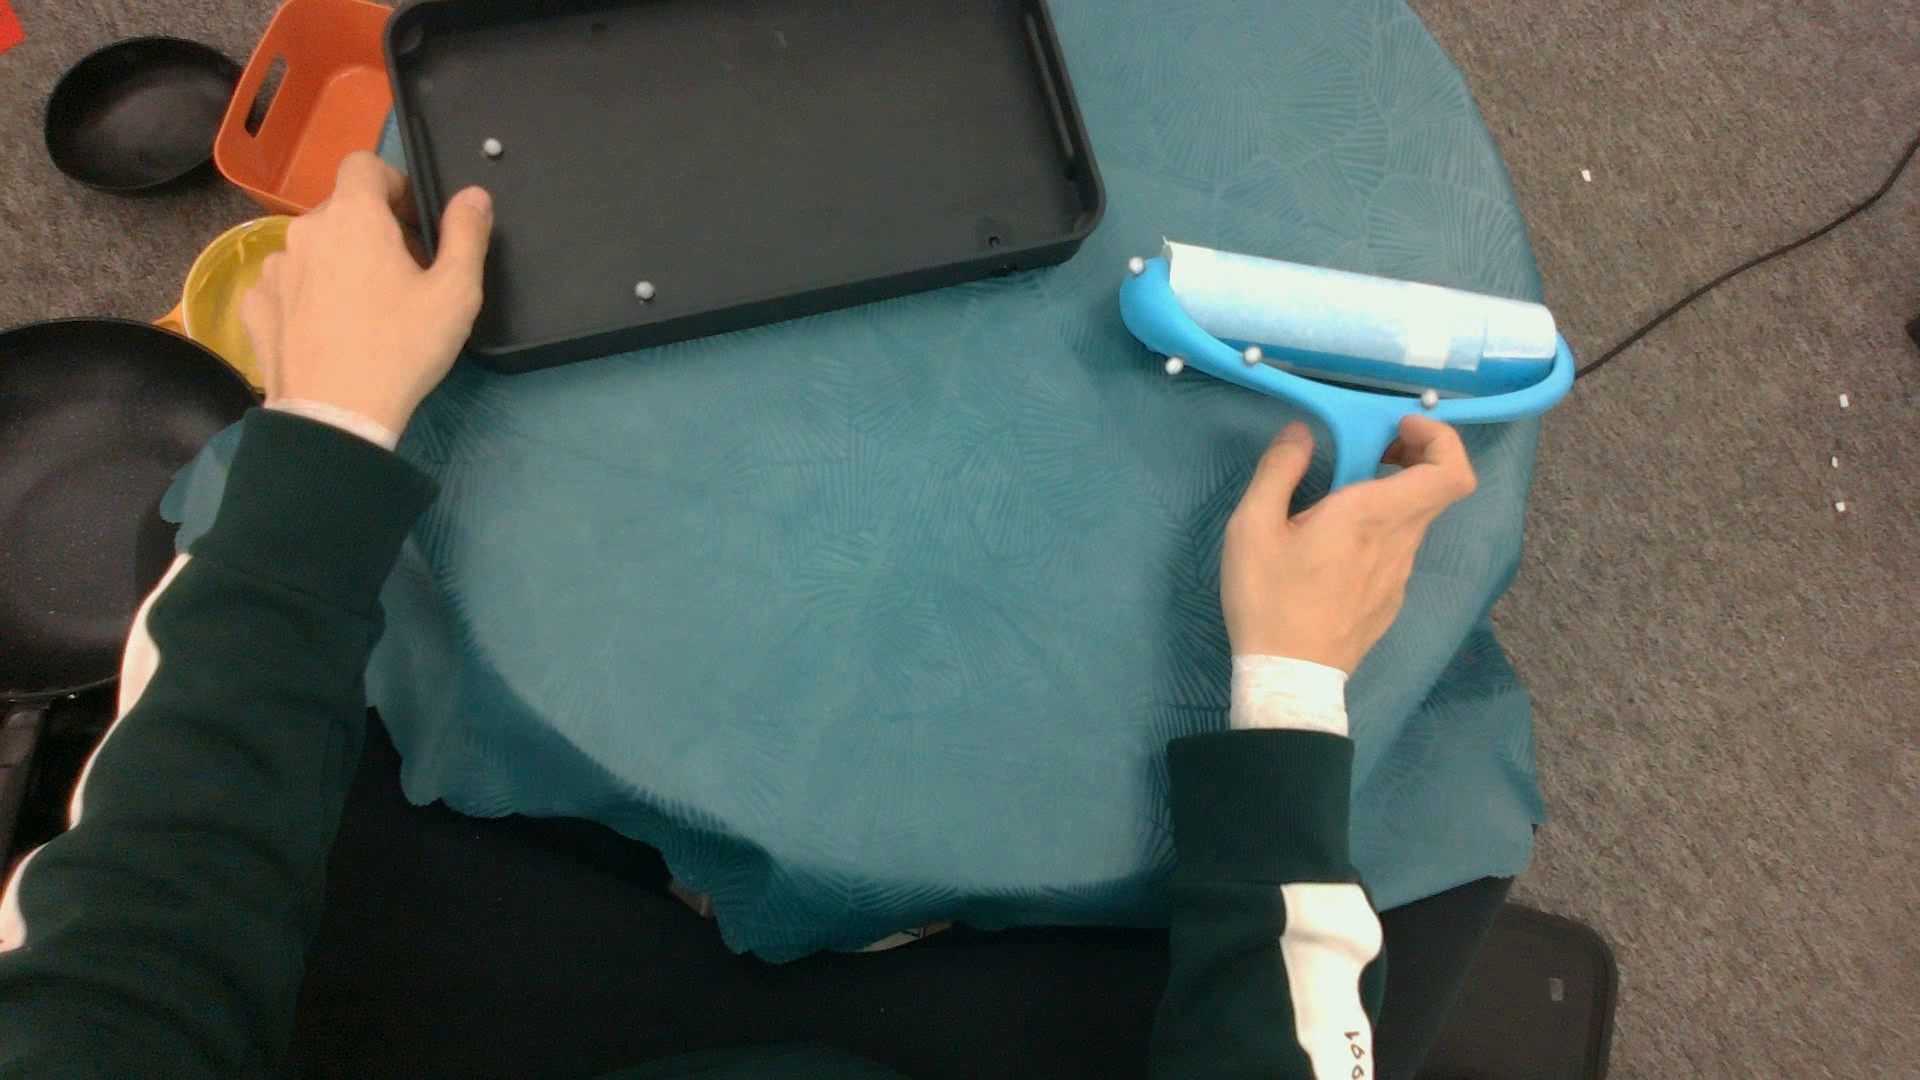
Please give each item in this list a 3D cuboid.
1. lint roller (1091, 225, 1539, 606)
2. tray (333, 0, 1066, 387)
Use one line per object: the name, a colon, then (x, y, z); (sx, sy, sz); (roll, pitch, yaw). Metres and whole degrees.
lint roller: (0.177, -0.061, 0.675); (0.229, 0.067, 0.180); (4, 75, -10)
tray: (-0.121, -0.197, 0.674); (0.318, 0.037, 0.184); (-17, 80, -13)
